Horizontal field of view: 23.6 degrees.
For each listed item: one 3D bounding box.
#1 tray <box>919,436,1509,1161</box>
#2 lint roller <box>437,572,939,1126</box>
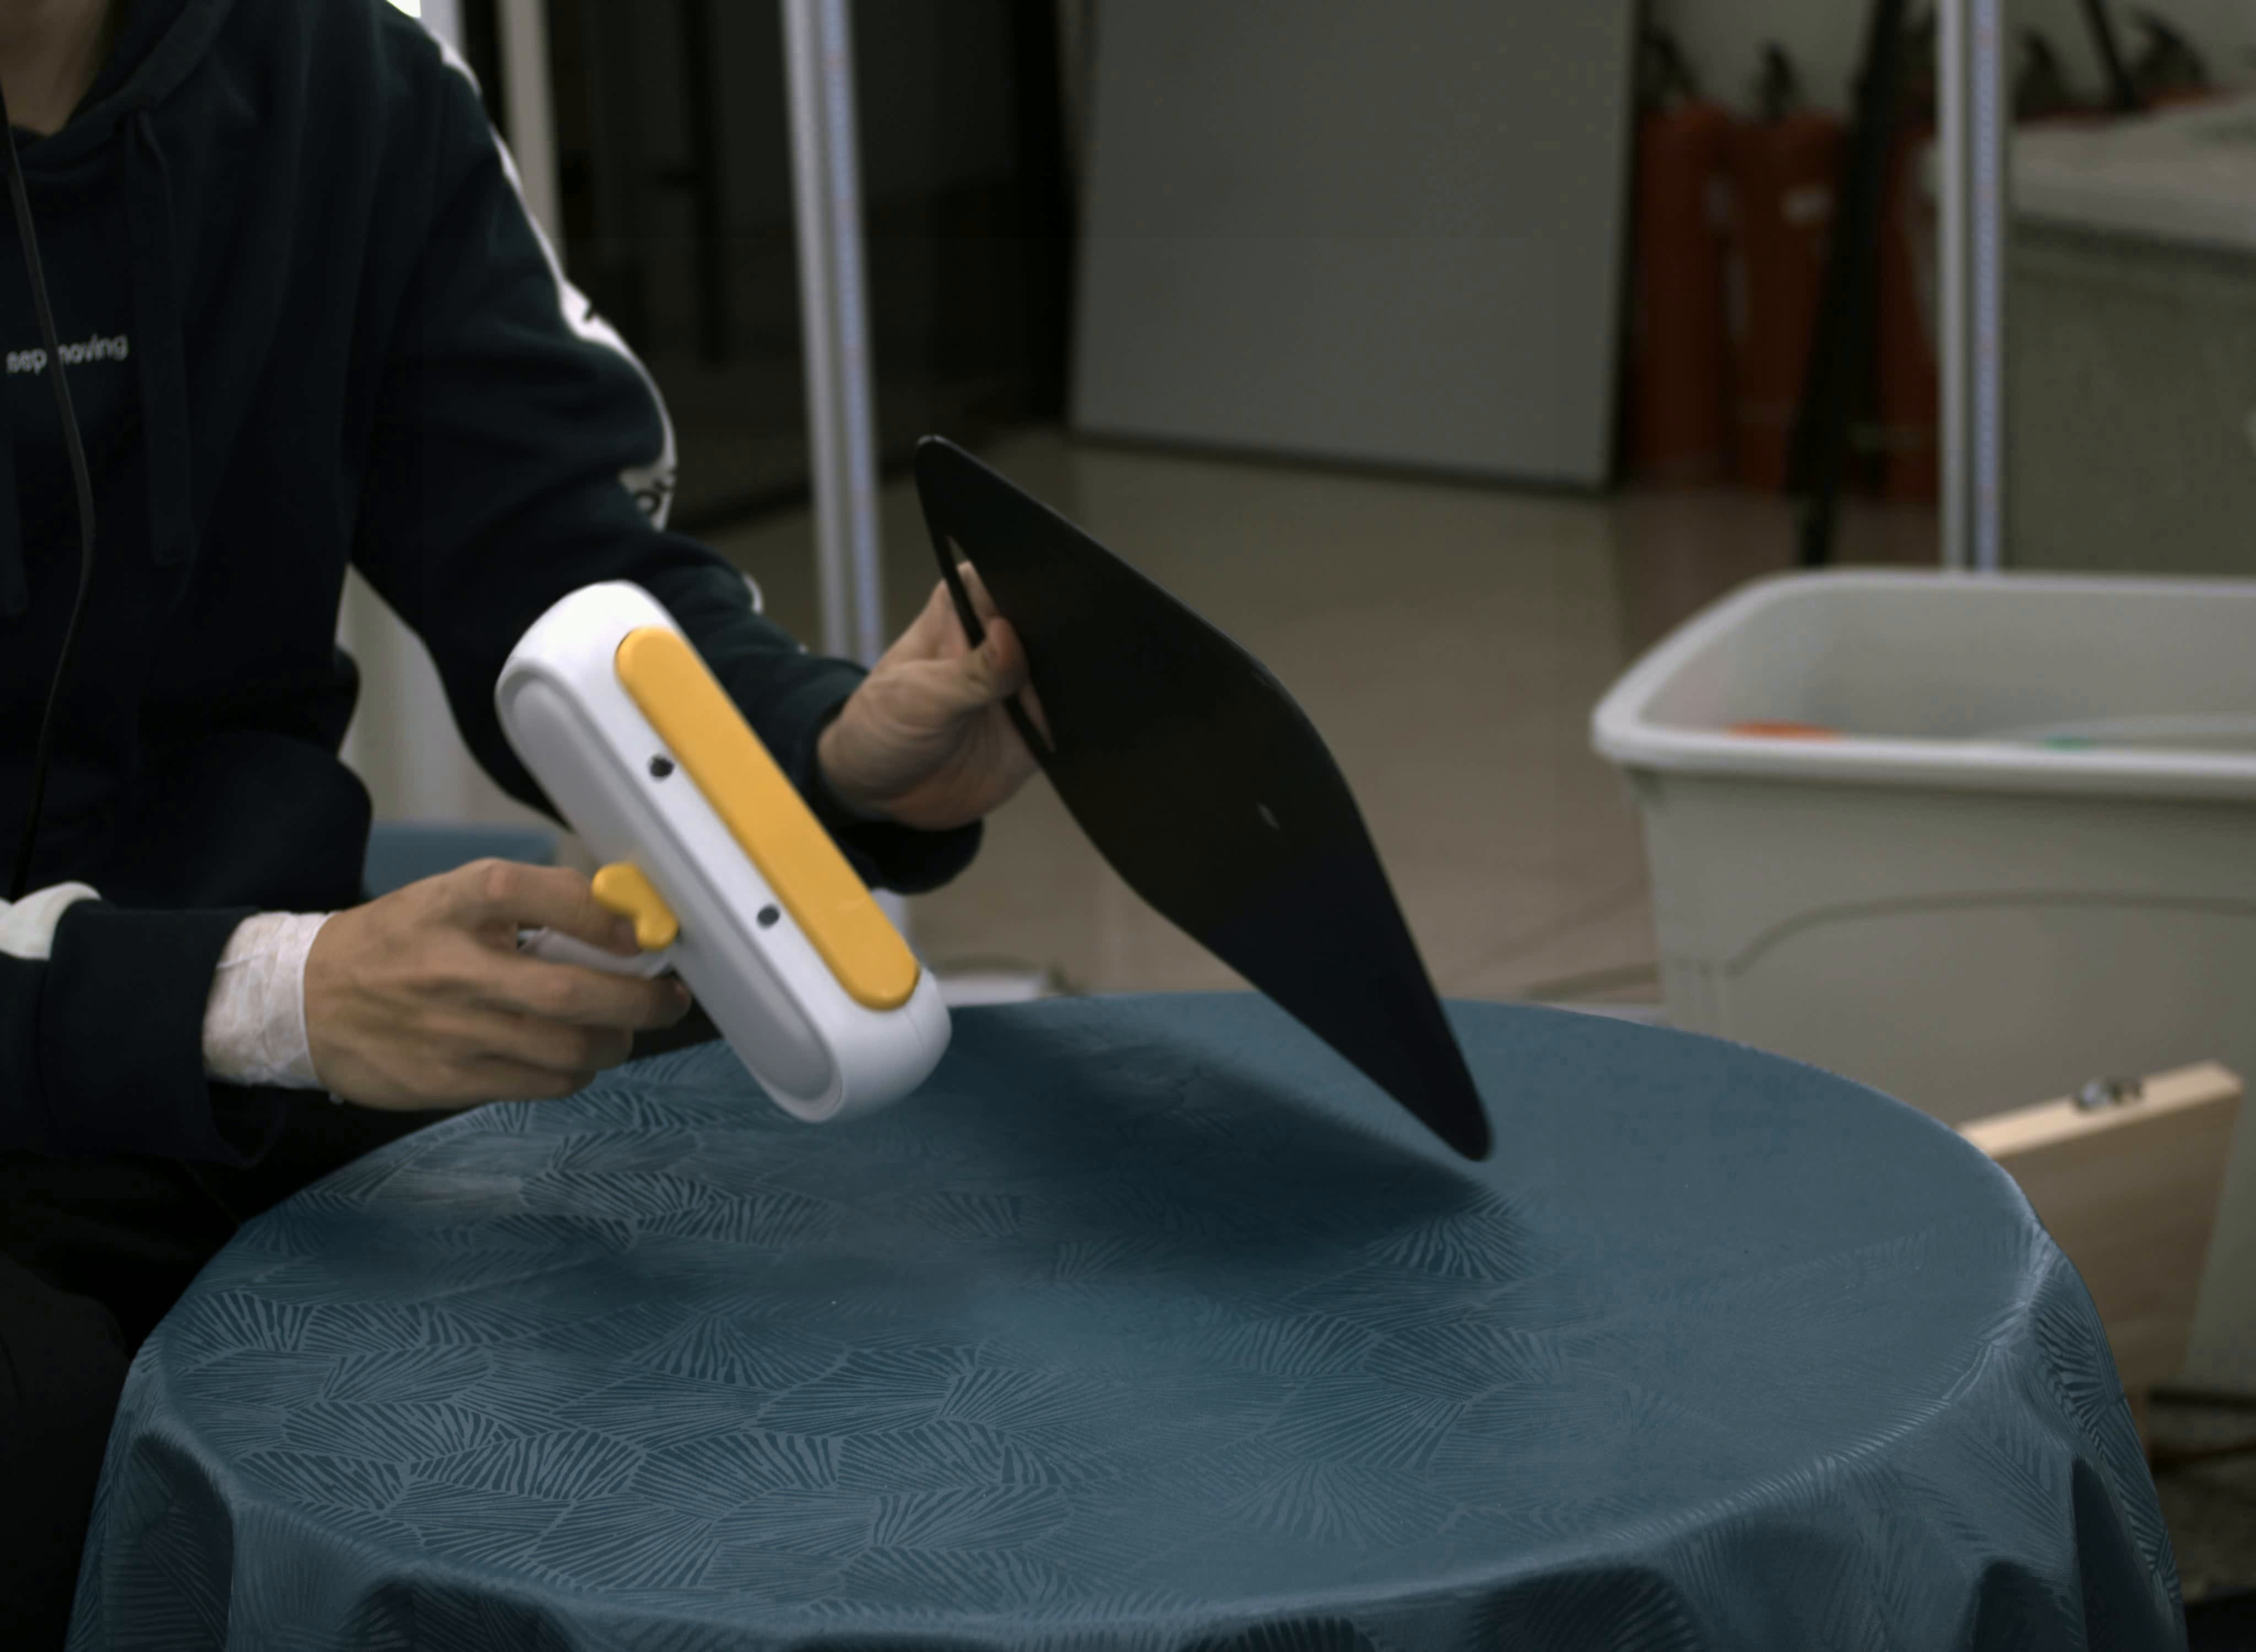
[{"bbox_3d":[0.022,-0.017,1.814,0.009,0.211,0.329,-33,32,-13],"label":"tray"},{"bbox_3d":[-0.165,0.036,1.755,0.073,0.193,0.194,-42,-2,-39],"label":"lint roller"}]
